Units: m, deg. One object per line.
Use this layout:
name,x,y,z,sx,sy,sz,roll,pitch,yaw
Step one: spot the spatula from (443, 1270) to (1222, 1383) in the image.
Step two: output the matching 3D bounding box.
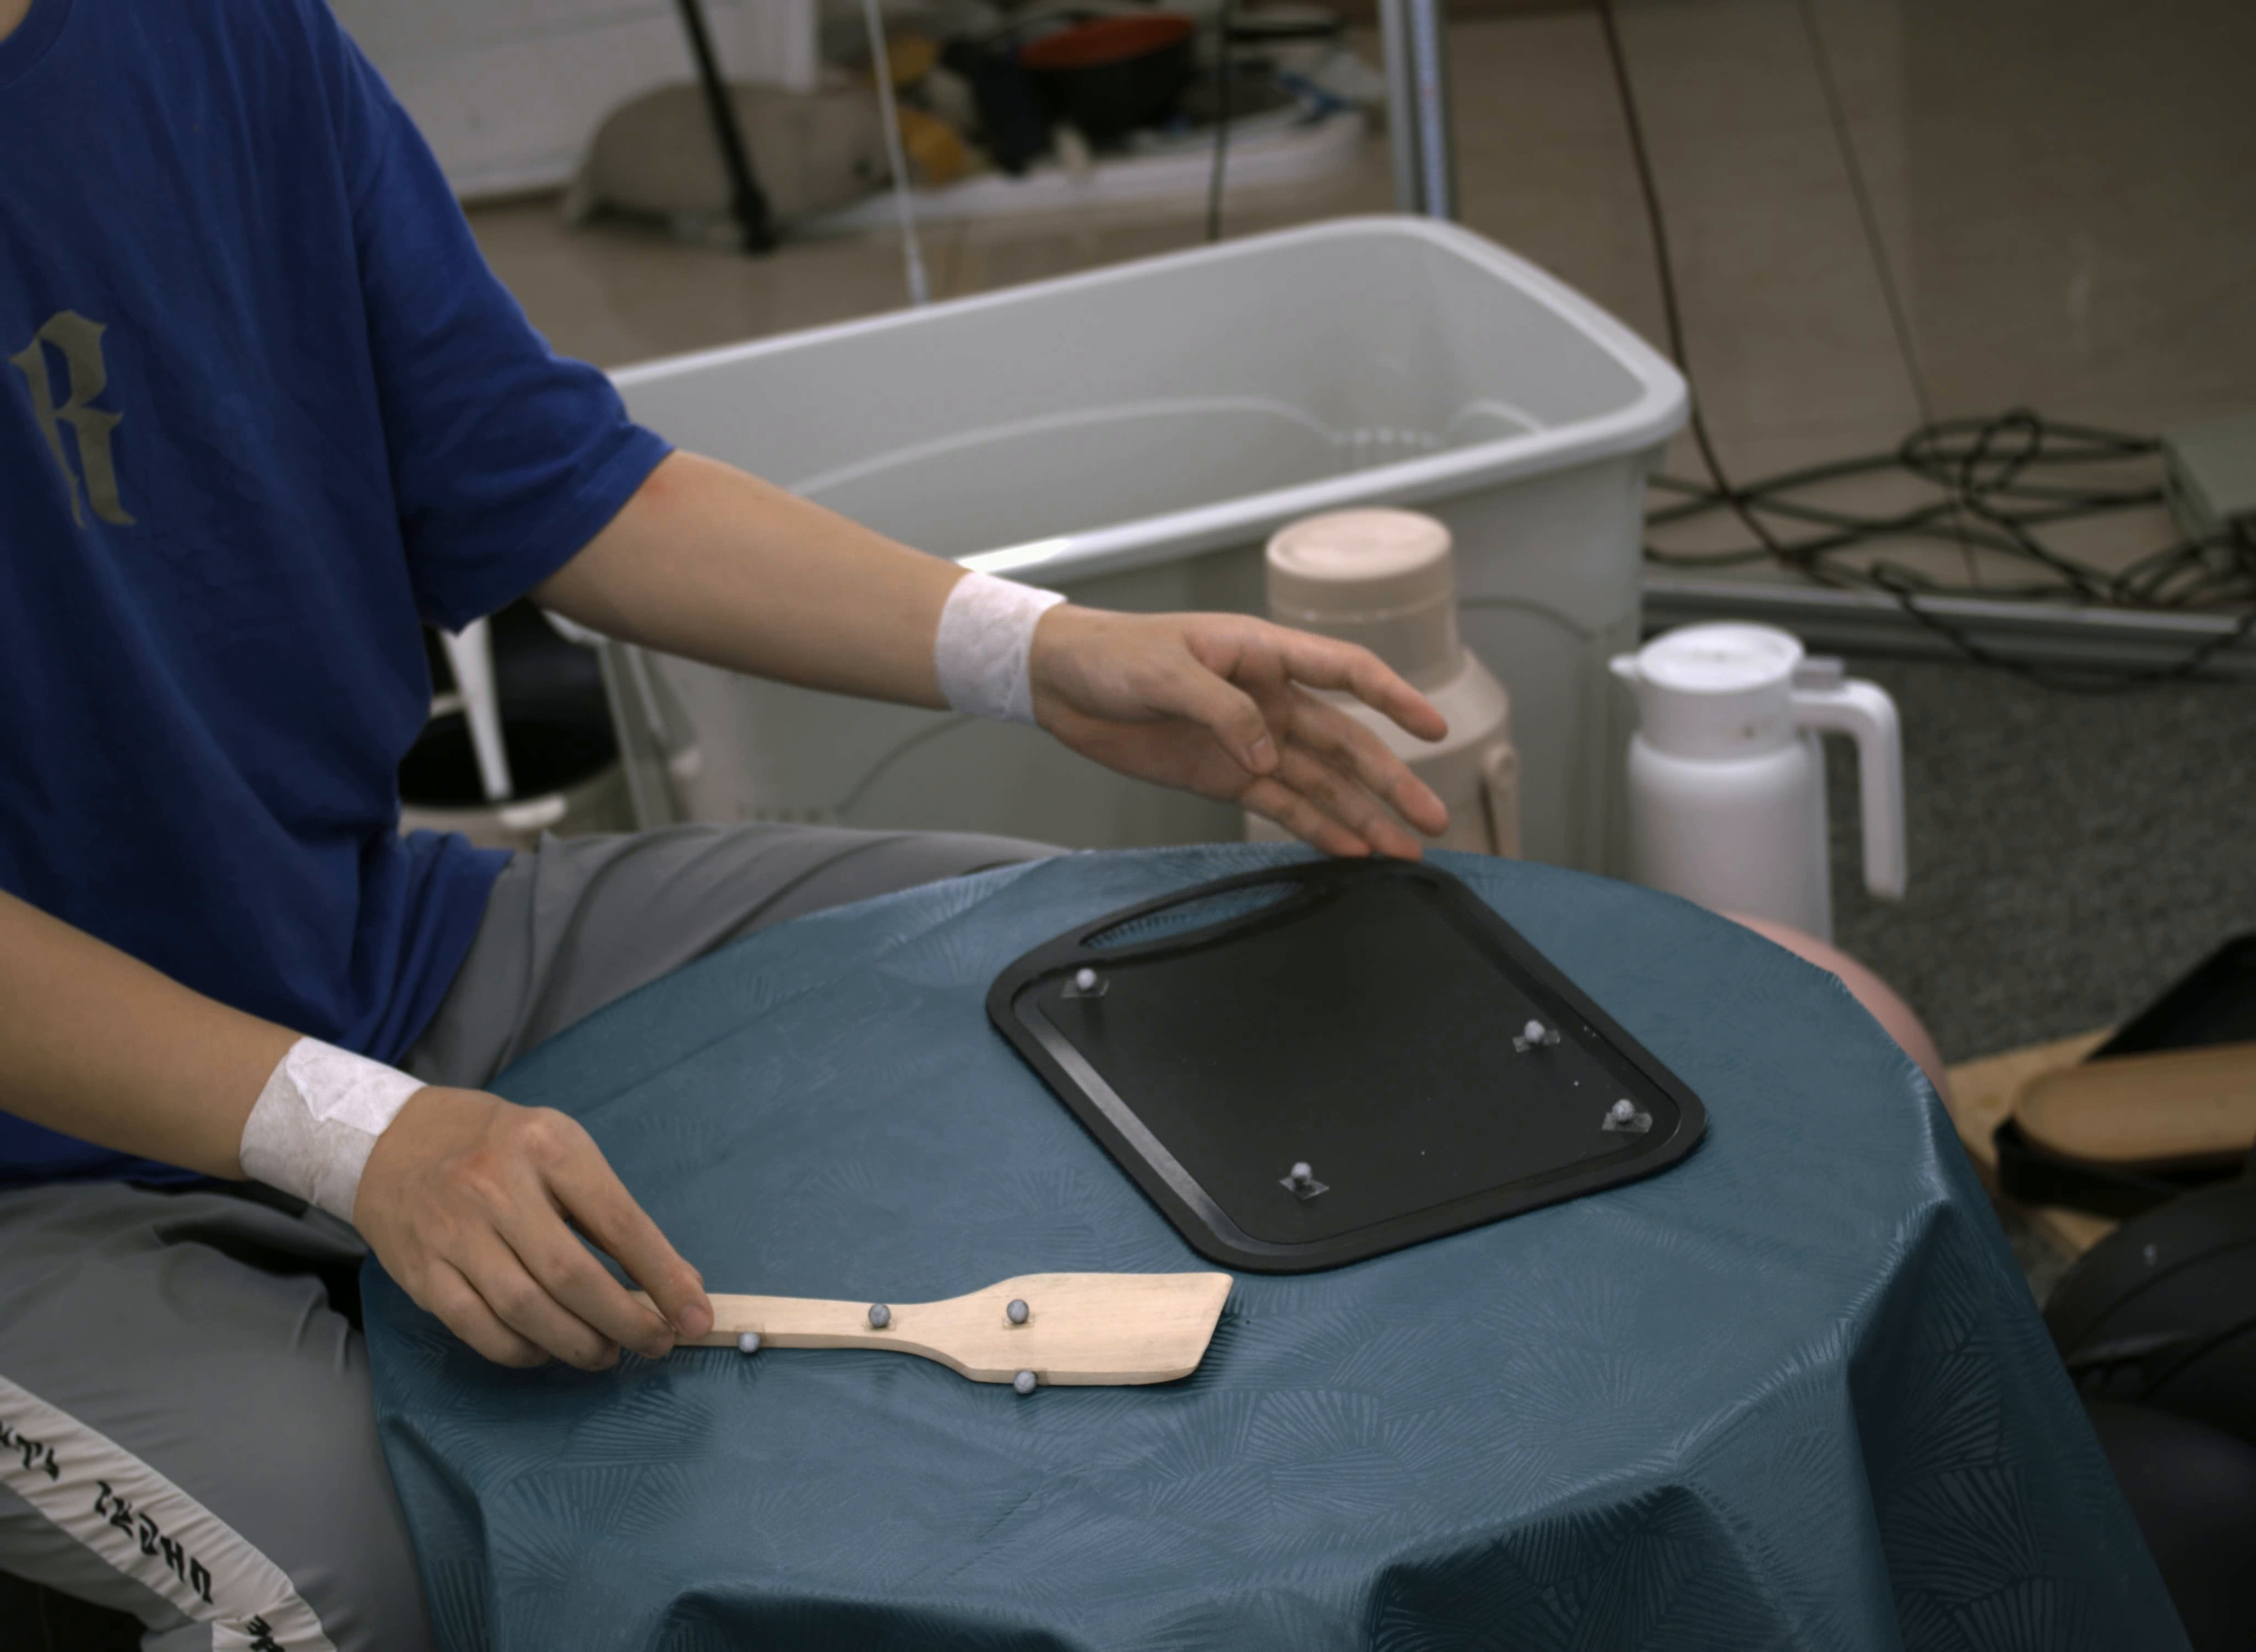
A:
spatula,-0.113,0.180,2.074,0.292,0.011,0.071,0,27,14

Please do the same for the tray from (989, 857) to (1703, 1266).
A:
tray,0.076,0.084,2.230,0.210,0.010,0.321,-16,27,-15
